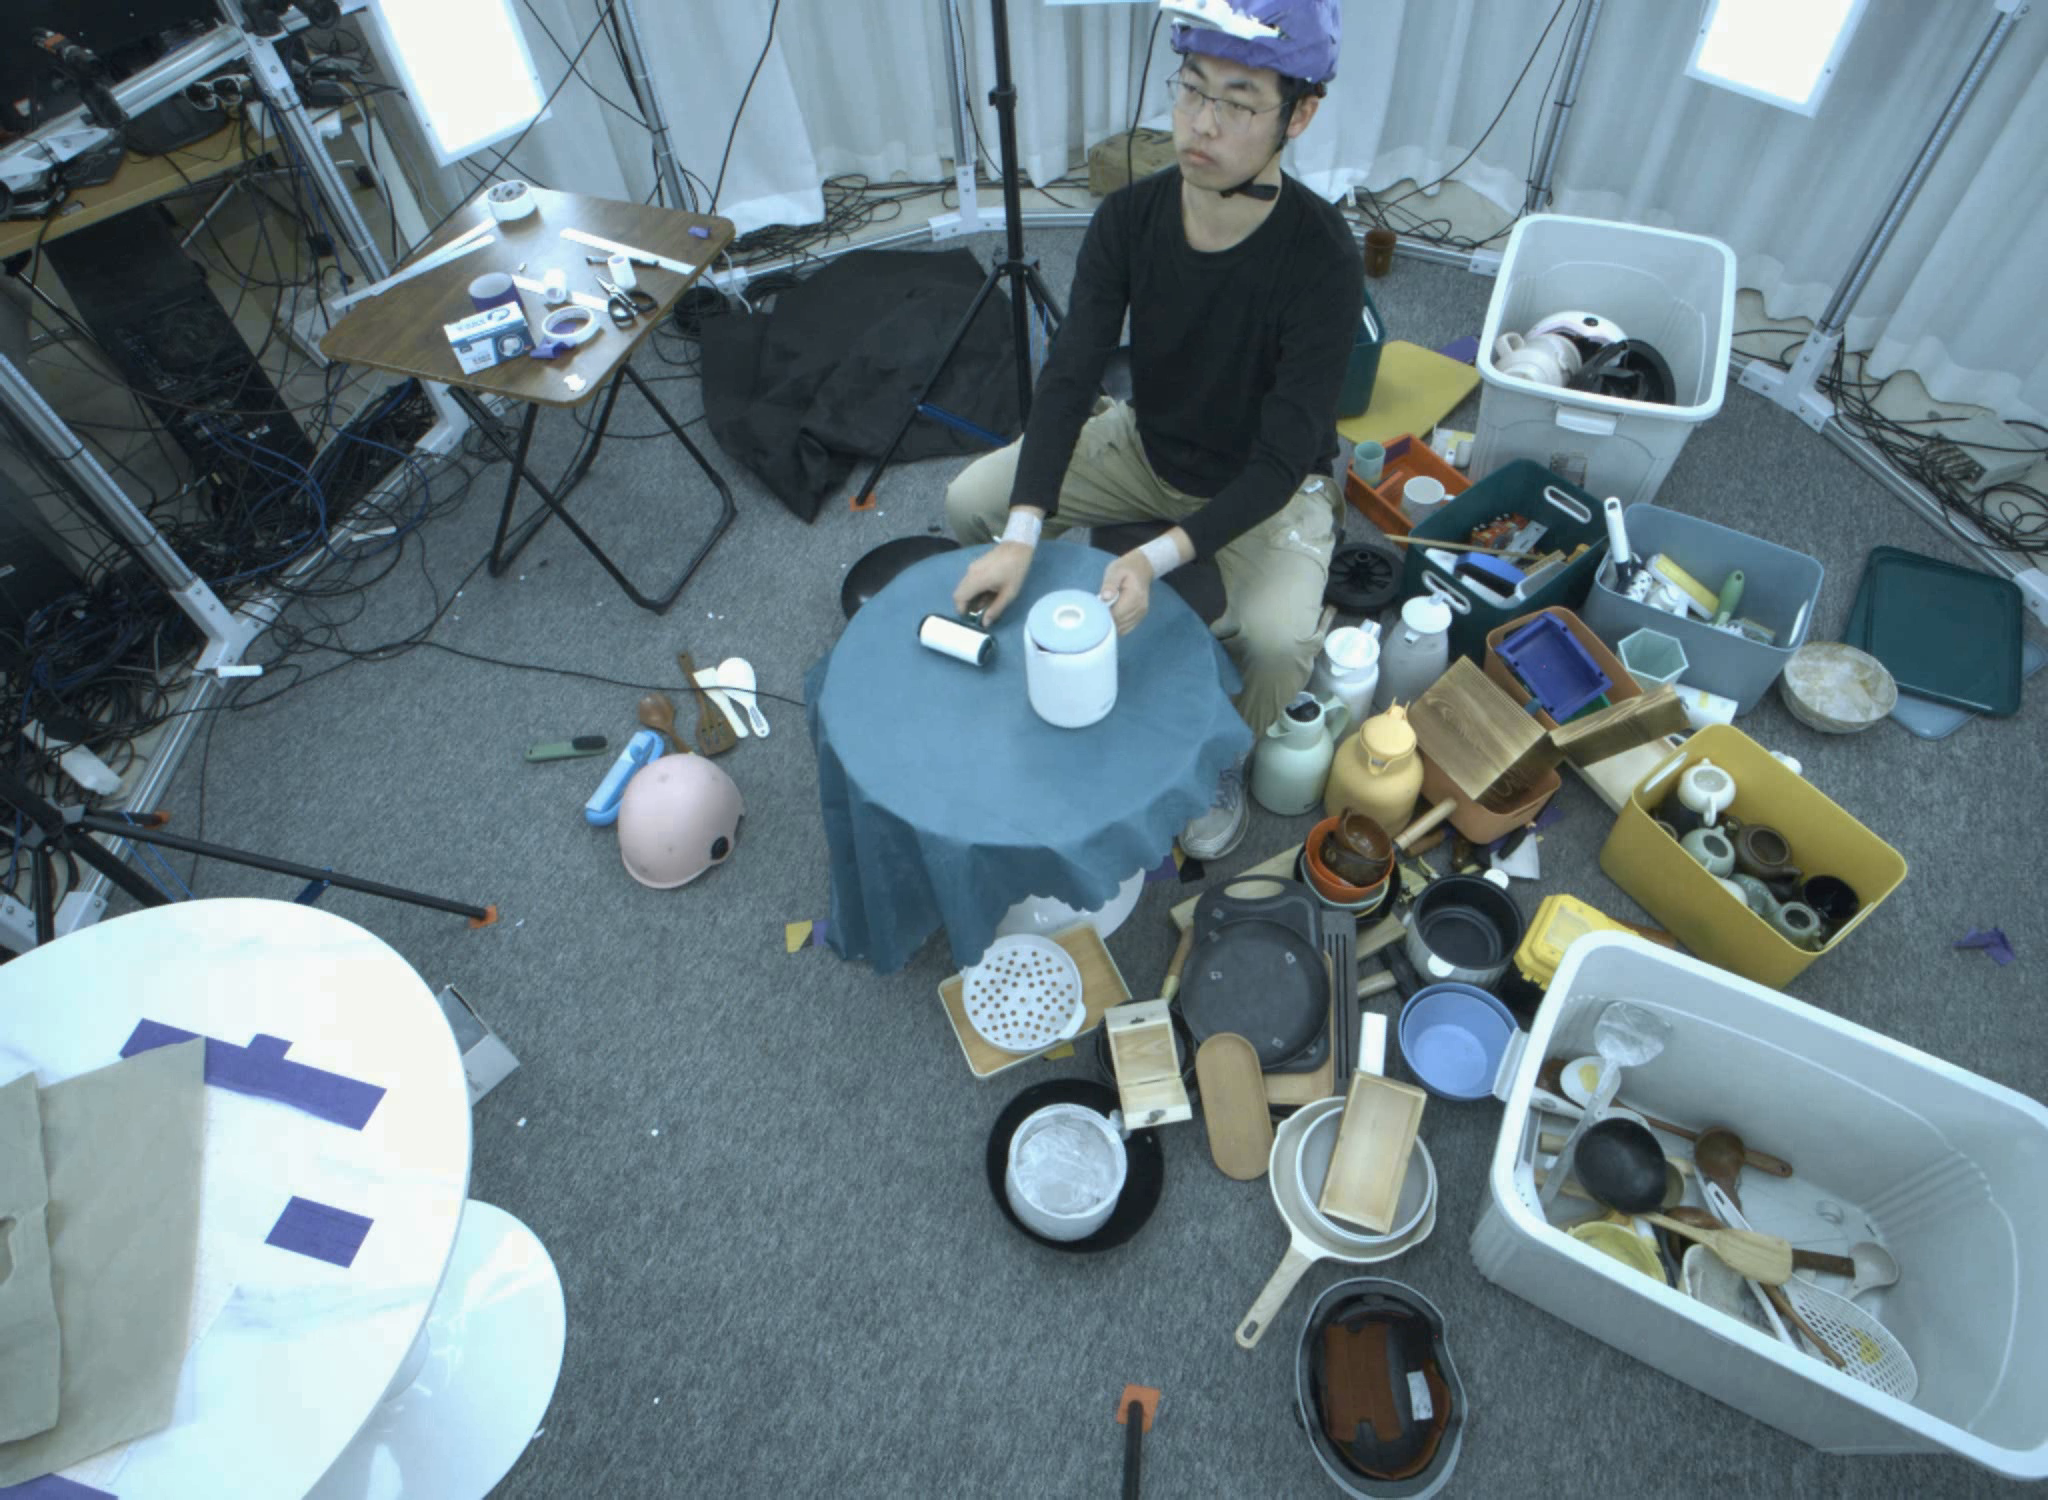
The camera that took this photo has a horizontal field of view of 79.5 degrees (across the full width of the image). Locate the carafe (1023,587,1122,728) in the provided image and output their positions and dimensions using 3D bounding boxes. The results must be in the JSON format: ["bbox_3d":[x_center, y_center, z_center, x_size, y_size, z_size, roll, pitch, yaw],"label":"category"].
[{"bbox_3d":[0.083,-0.147,1.783,0.130,0.184,0.192,32,60,23],"label":"carafe"}]

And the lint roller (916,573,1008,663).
[{"bbox_3d":[-0.075,-0.222,1.909,0.132,0.049,0.180,22,64,16],"label":"lint roller"}]
